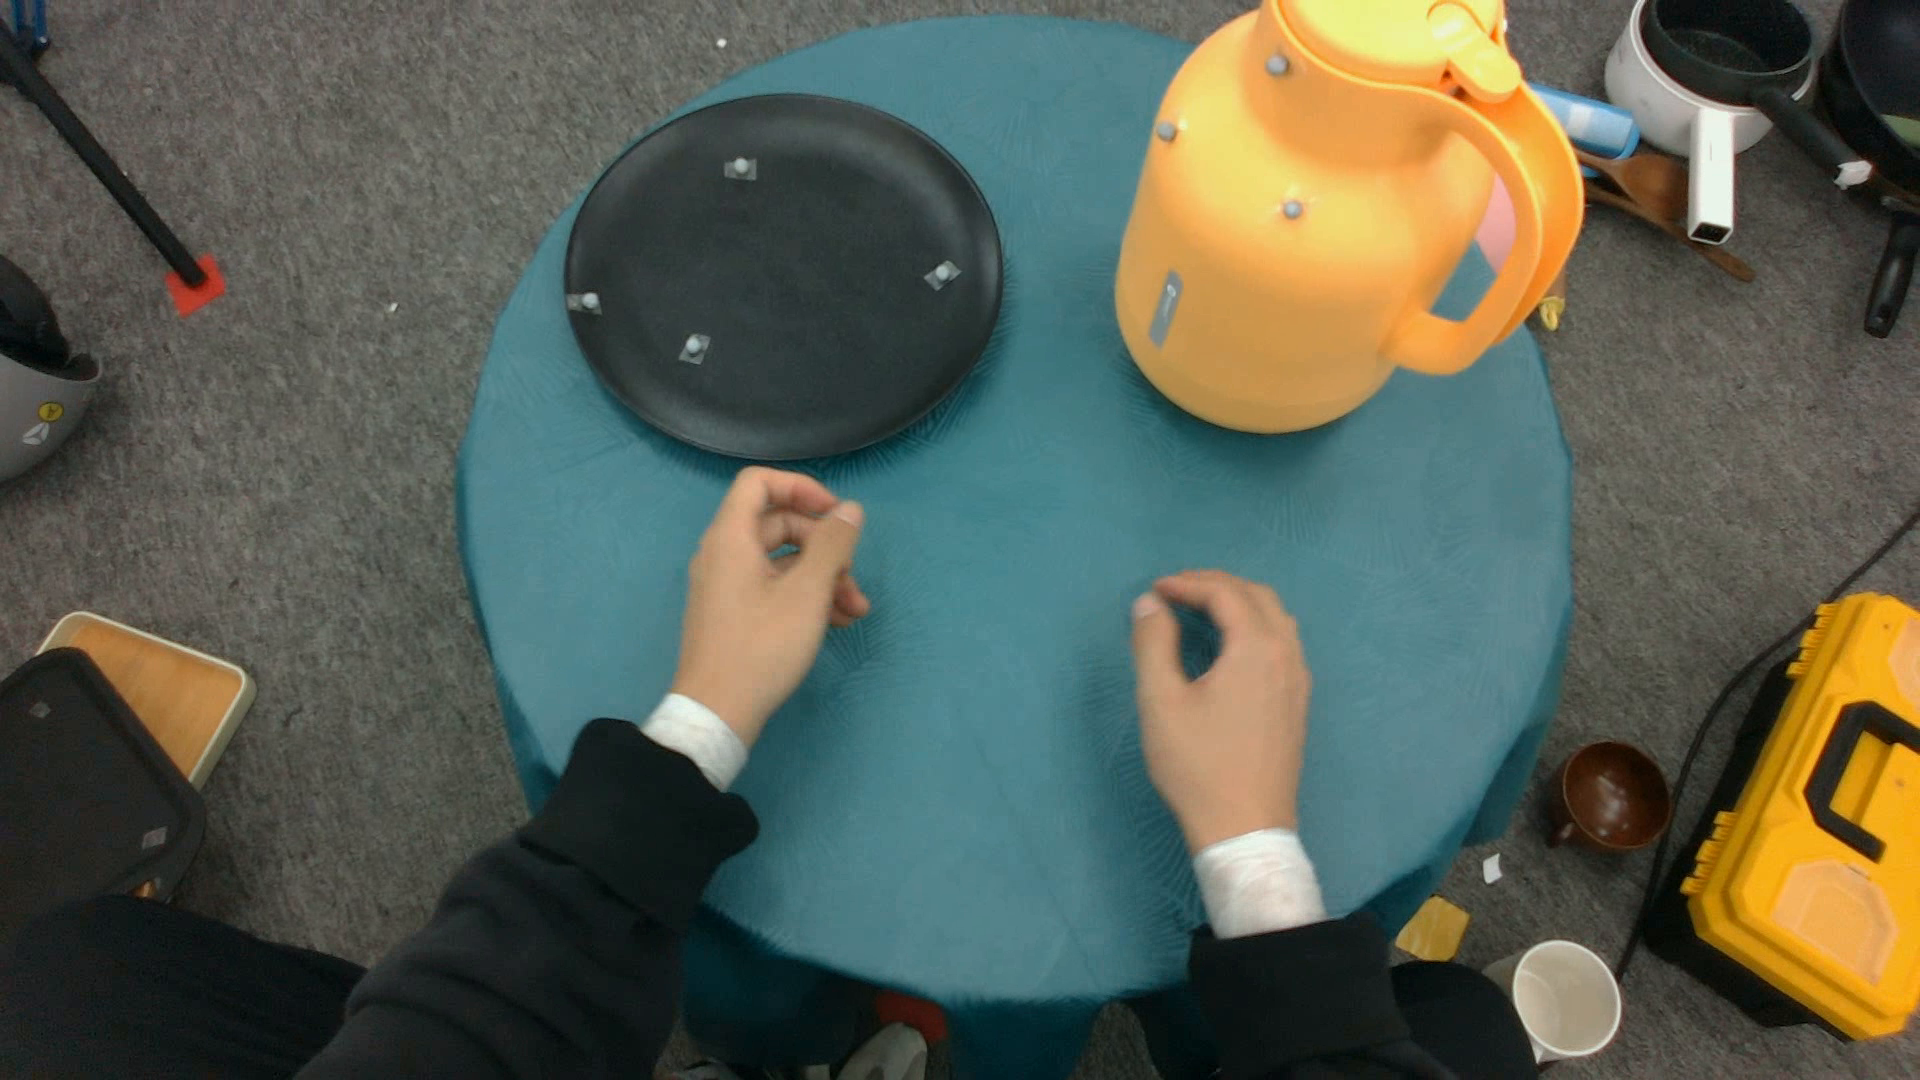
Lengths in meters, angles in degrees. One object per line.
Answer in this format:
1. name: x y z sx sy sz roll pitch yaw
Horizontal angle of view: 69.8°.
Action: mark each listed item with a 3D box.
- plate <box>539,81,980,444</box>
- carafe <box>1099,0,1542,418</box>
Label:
1. plate: -0.111 -0.157 0.774 0.244 0.023 0.245 1 65 -3
2. carafe: 0.169 -0.167 0.665 0.164 0.259 0.202 -33 69 -14
